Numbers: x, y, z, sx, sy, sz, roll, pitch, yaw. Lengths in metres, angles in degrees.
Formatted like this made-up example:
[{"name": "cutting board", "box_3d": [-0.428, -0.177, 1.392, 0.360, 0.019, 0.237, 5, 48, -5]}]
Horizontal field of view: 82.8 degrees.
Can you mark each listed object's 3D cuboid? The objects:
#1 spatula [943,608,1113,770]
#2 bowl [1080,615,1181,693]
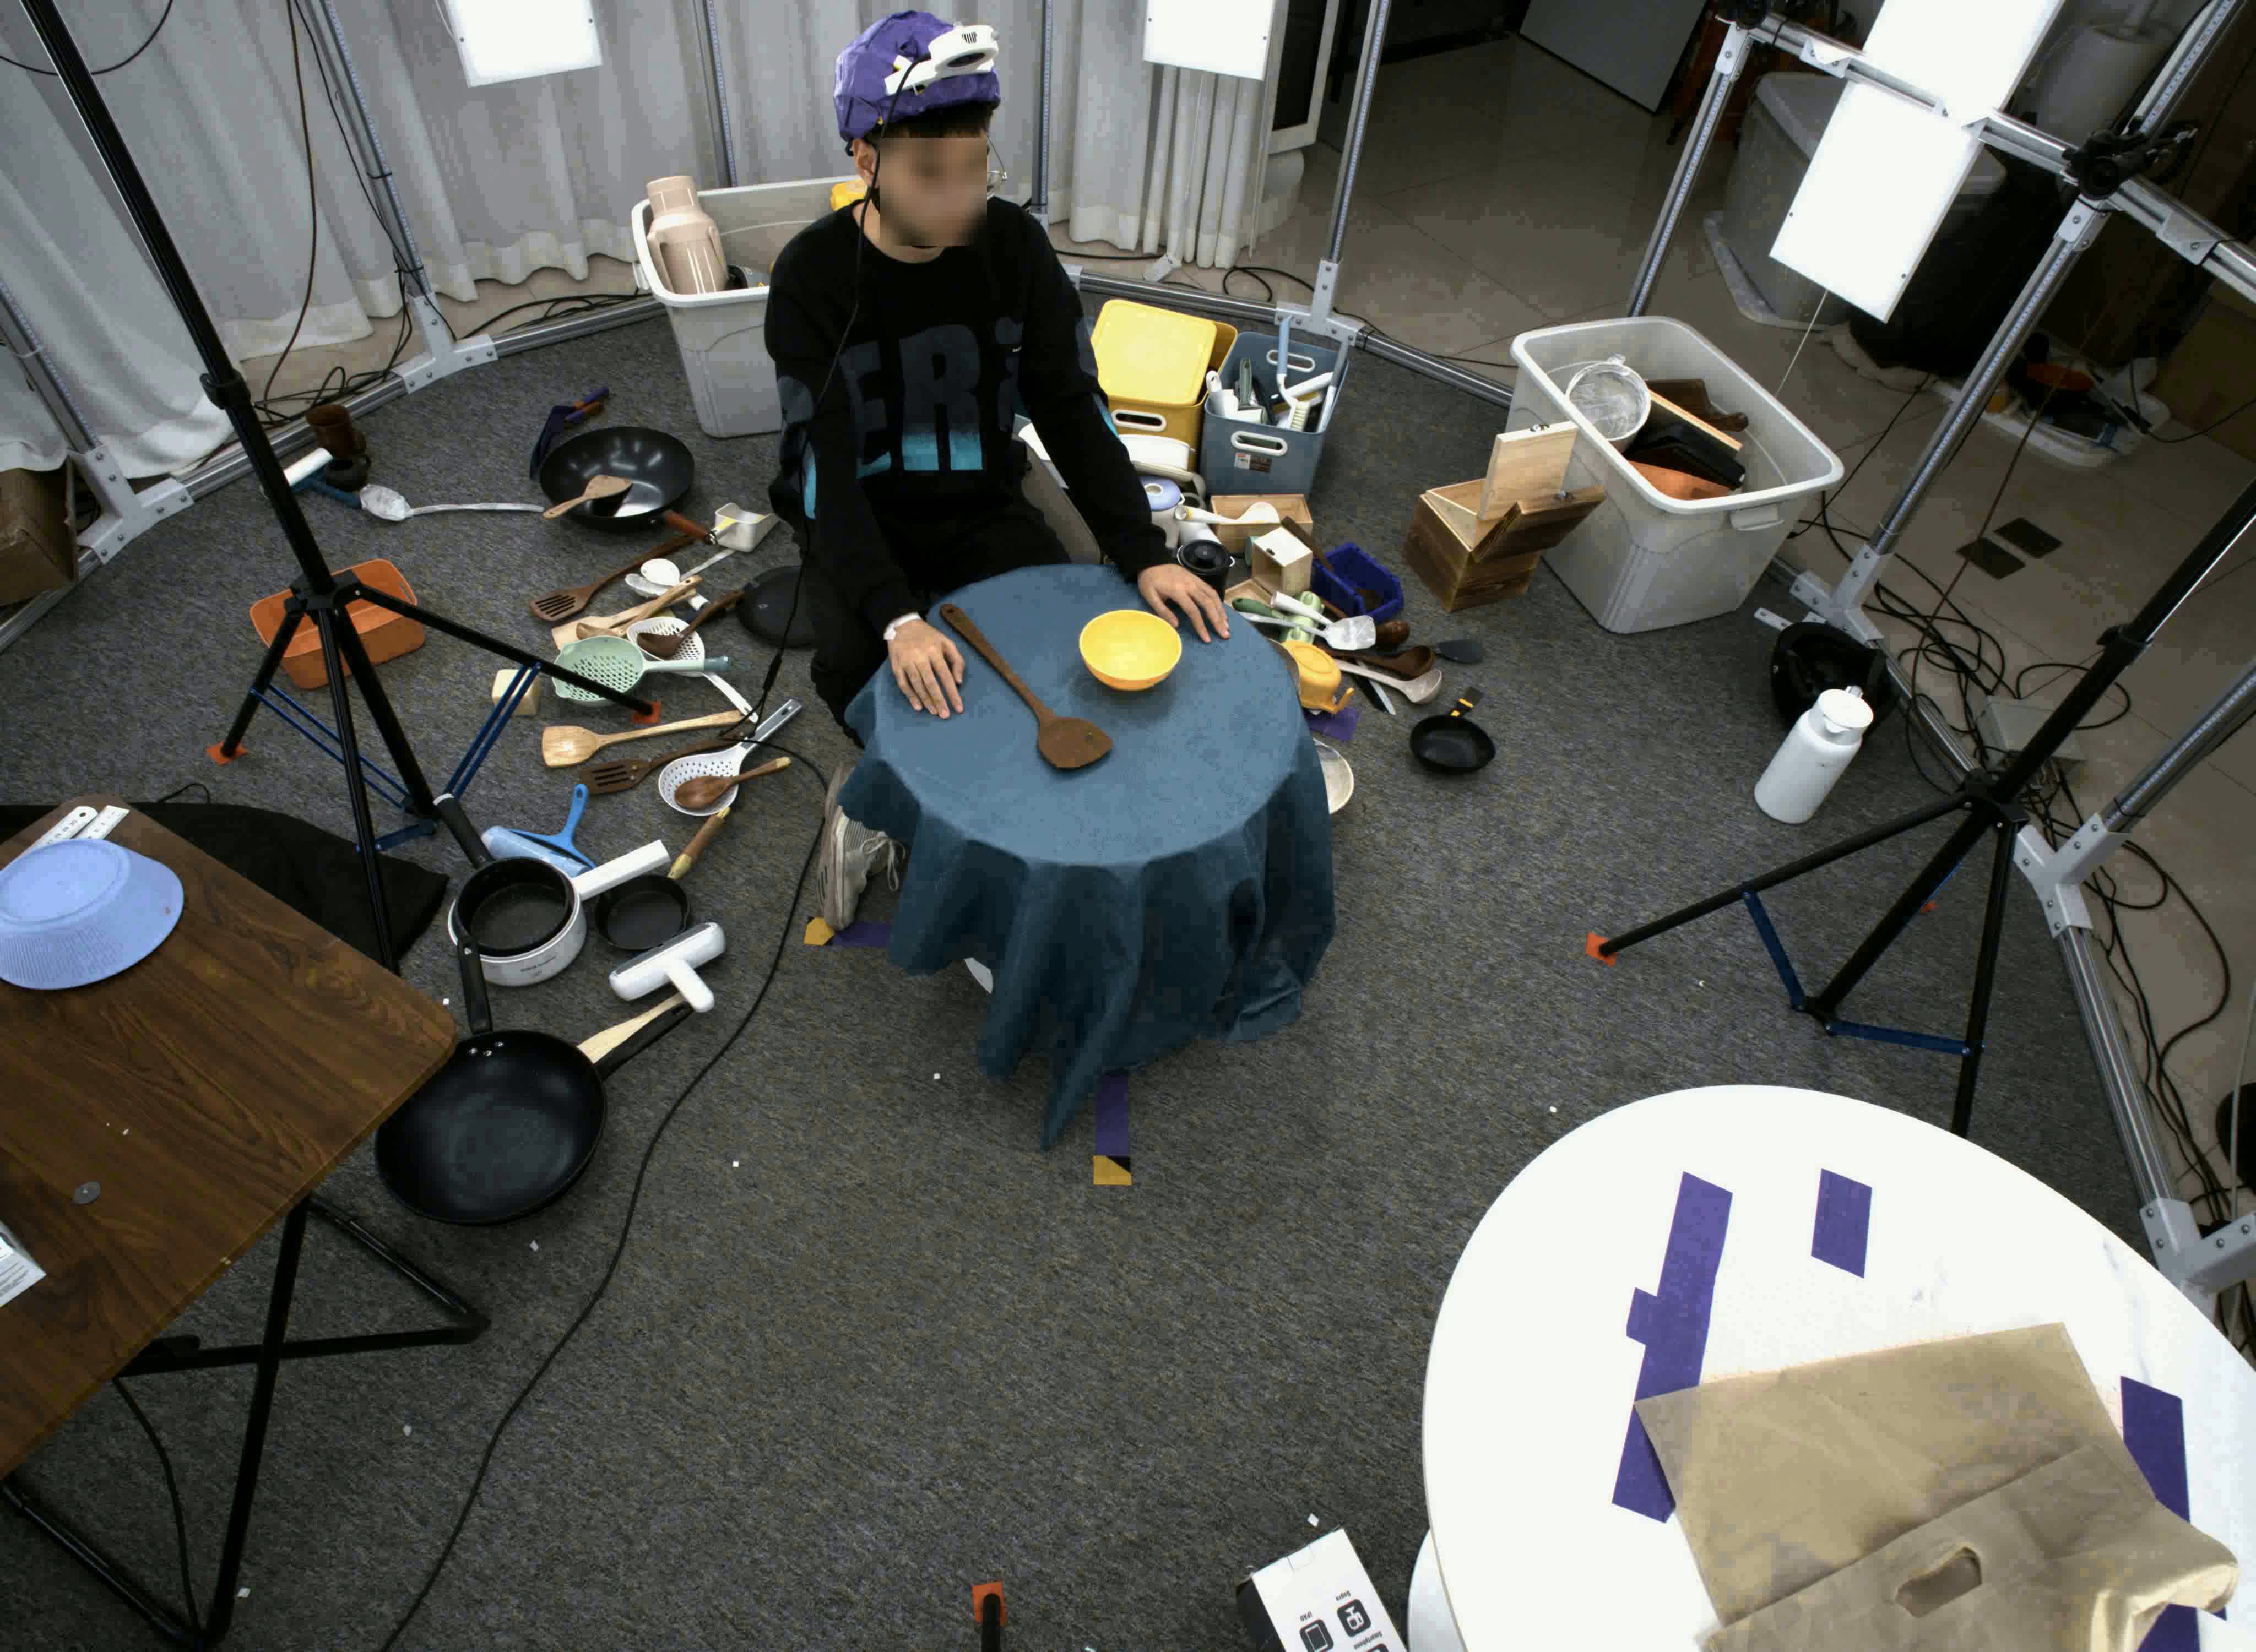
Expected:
[{"name": "spatula", "box_3d": [-0.161, -0.207, 1.846, 0.096, 0.015, 0.393, -26, 55, -25]}, {"name": "bowl", "box_3d": [0.001, -0.237, 1.855, 0.145, 0.058, 0.149, 3, 47, -4]}]
